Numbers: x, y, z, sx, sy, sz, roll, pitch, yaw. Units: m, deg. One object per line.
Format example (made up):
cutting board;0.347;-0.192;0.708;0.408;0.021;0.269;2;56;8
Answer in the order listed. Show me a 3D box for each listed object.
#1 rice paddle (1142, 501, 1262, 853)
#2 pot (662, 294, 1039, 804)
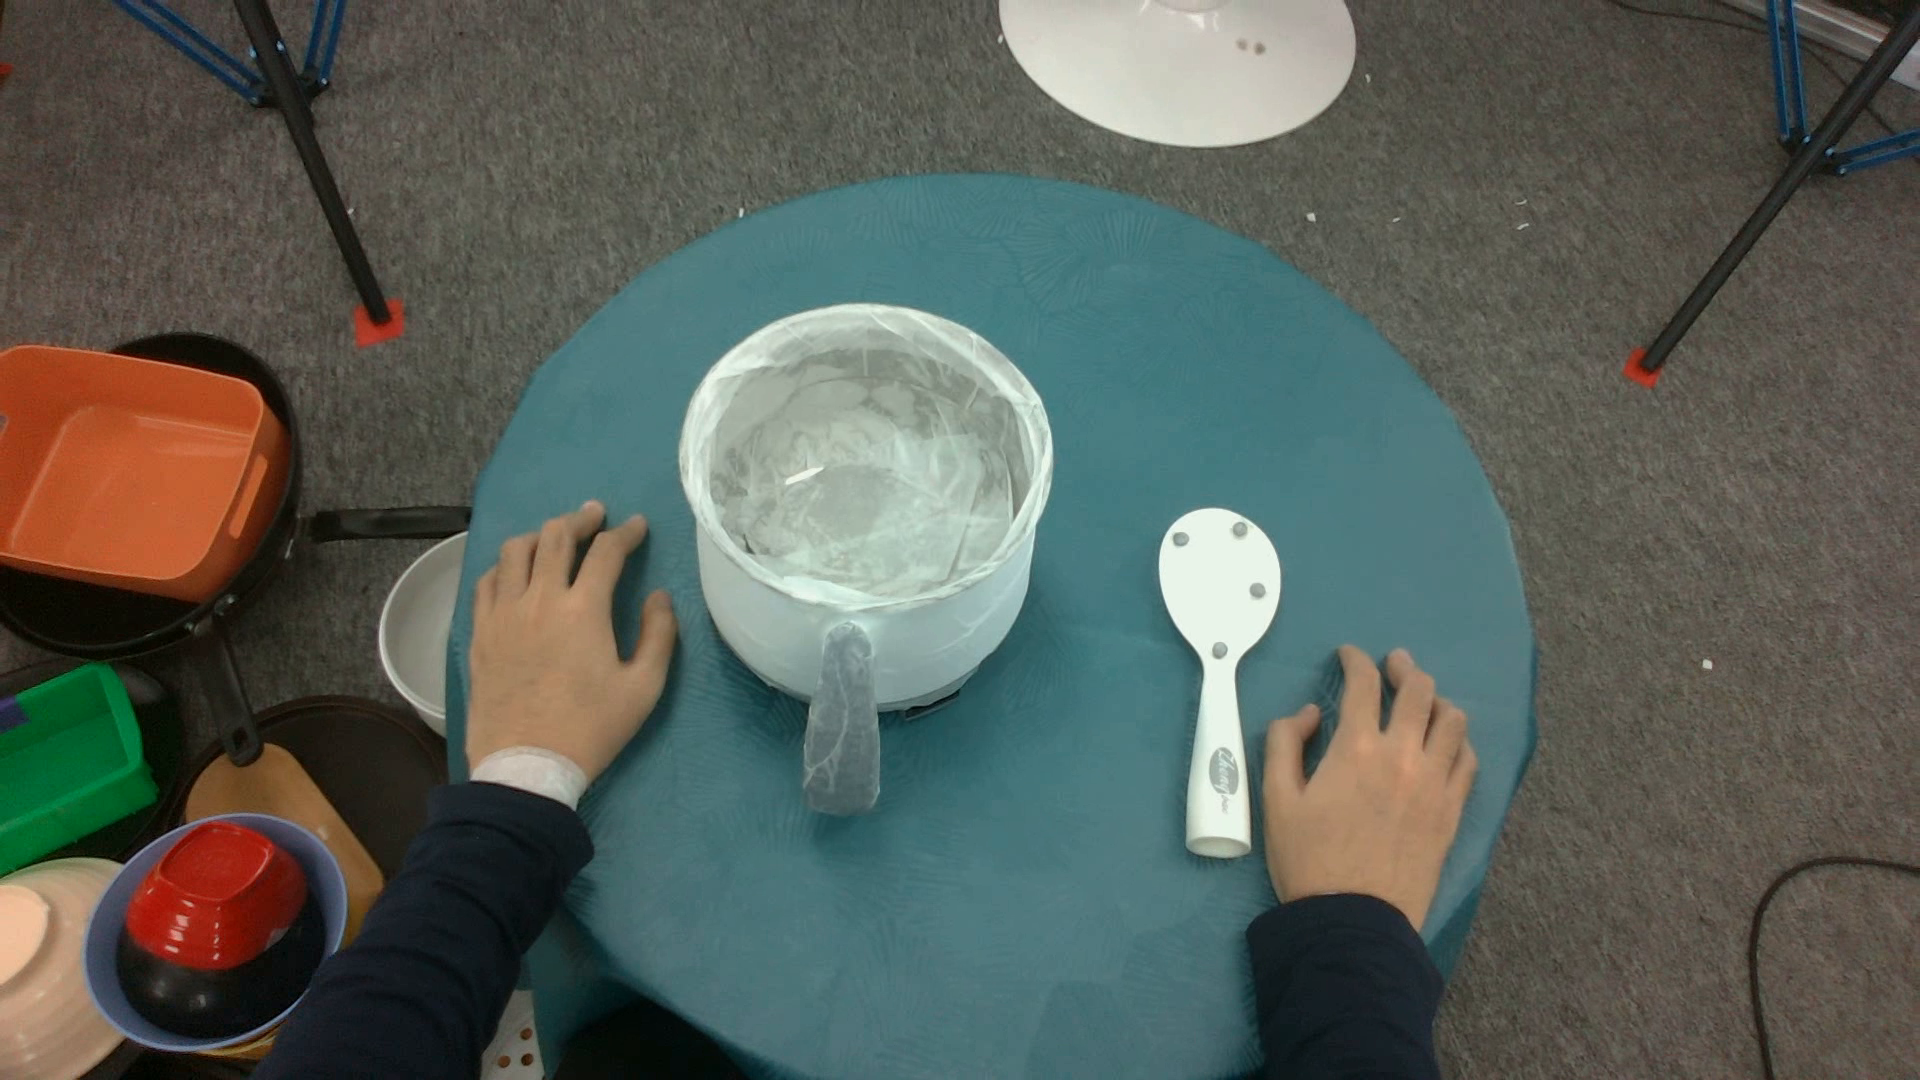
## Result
rice paddle;0.130;0.064;0.739;0.069;0.029;0.206;8;59;-3
pot;-0.055;0.007;0.691;0.179;0.136;0.234;3;57;-2
